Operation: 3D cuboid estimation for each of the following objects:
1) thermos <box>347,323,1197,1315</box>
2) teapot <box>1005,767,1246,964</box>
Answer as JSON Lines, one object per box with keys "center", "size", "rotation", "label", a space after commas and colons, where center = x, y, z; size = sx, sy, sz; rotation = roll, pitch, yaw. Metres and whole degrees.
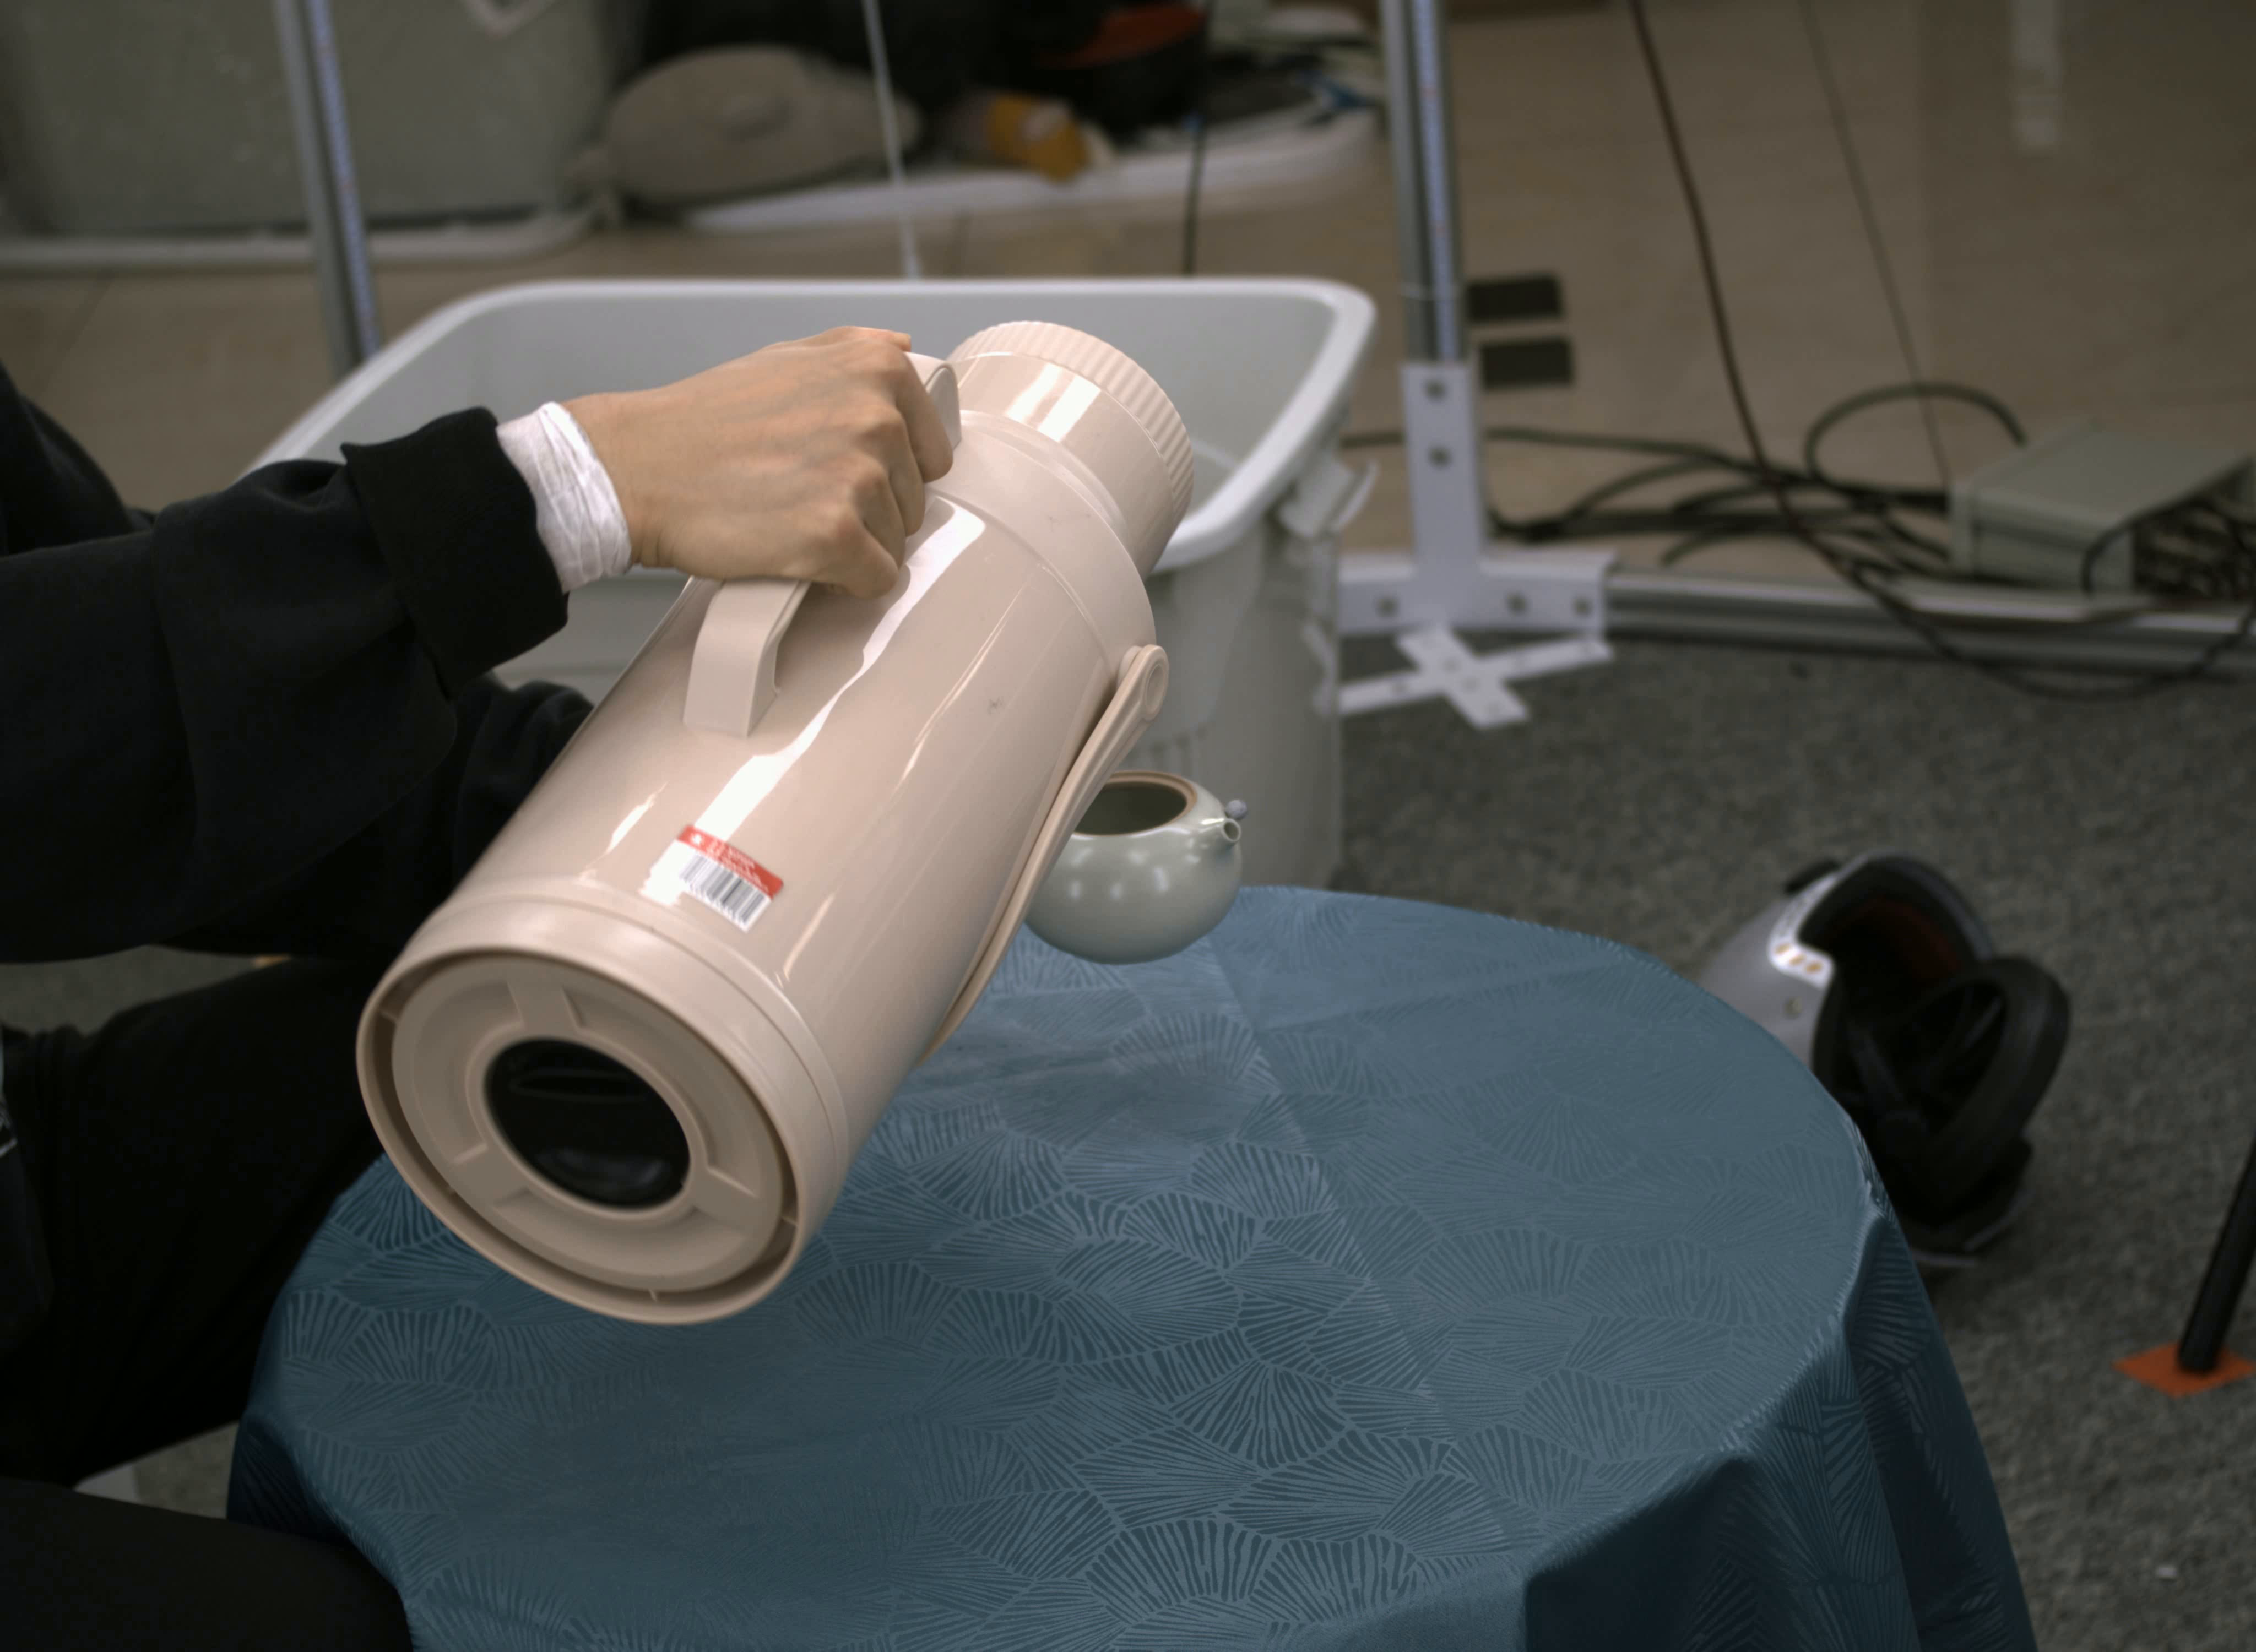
{"center": [-0.103, -0.033, 1.924], "size": [0.174, 0.211, 0.400], "rotation": [16, 44, 19], "label": "thermos"}
{"center": [-0.008, 0.014, 2.198], "size": [0.127, 0.060, 0.091], "rotation": [11, 33, 30], "label": "teapot"}
